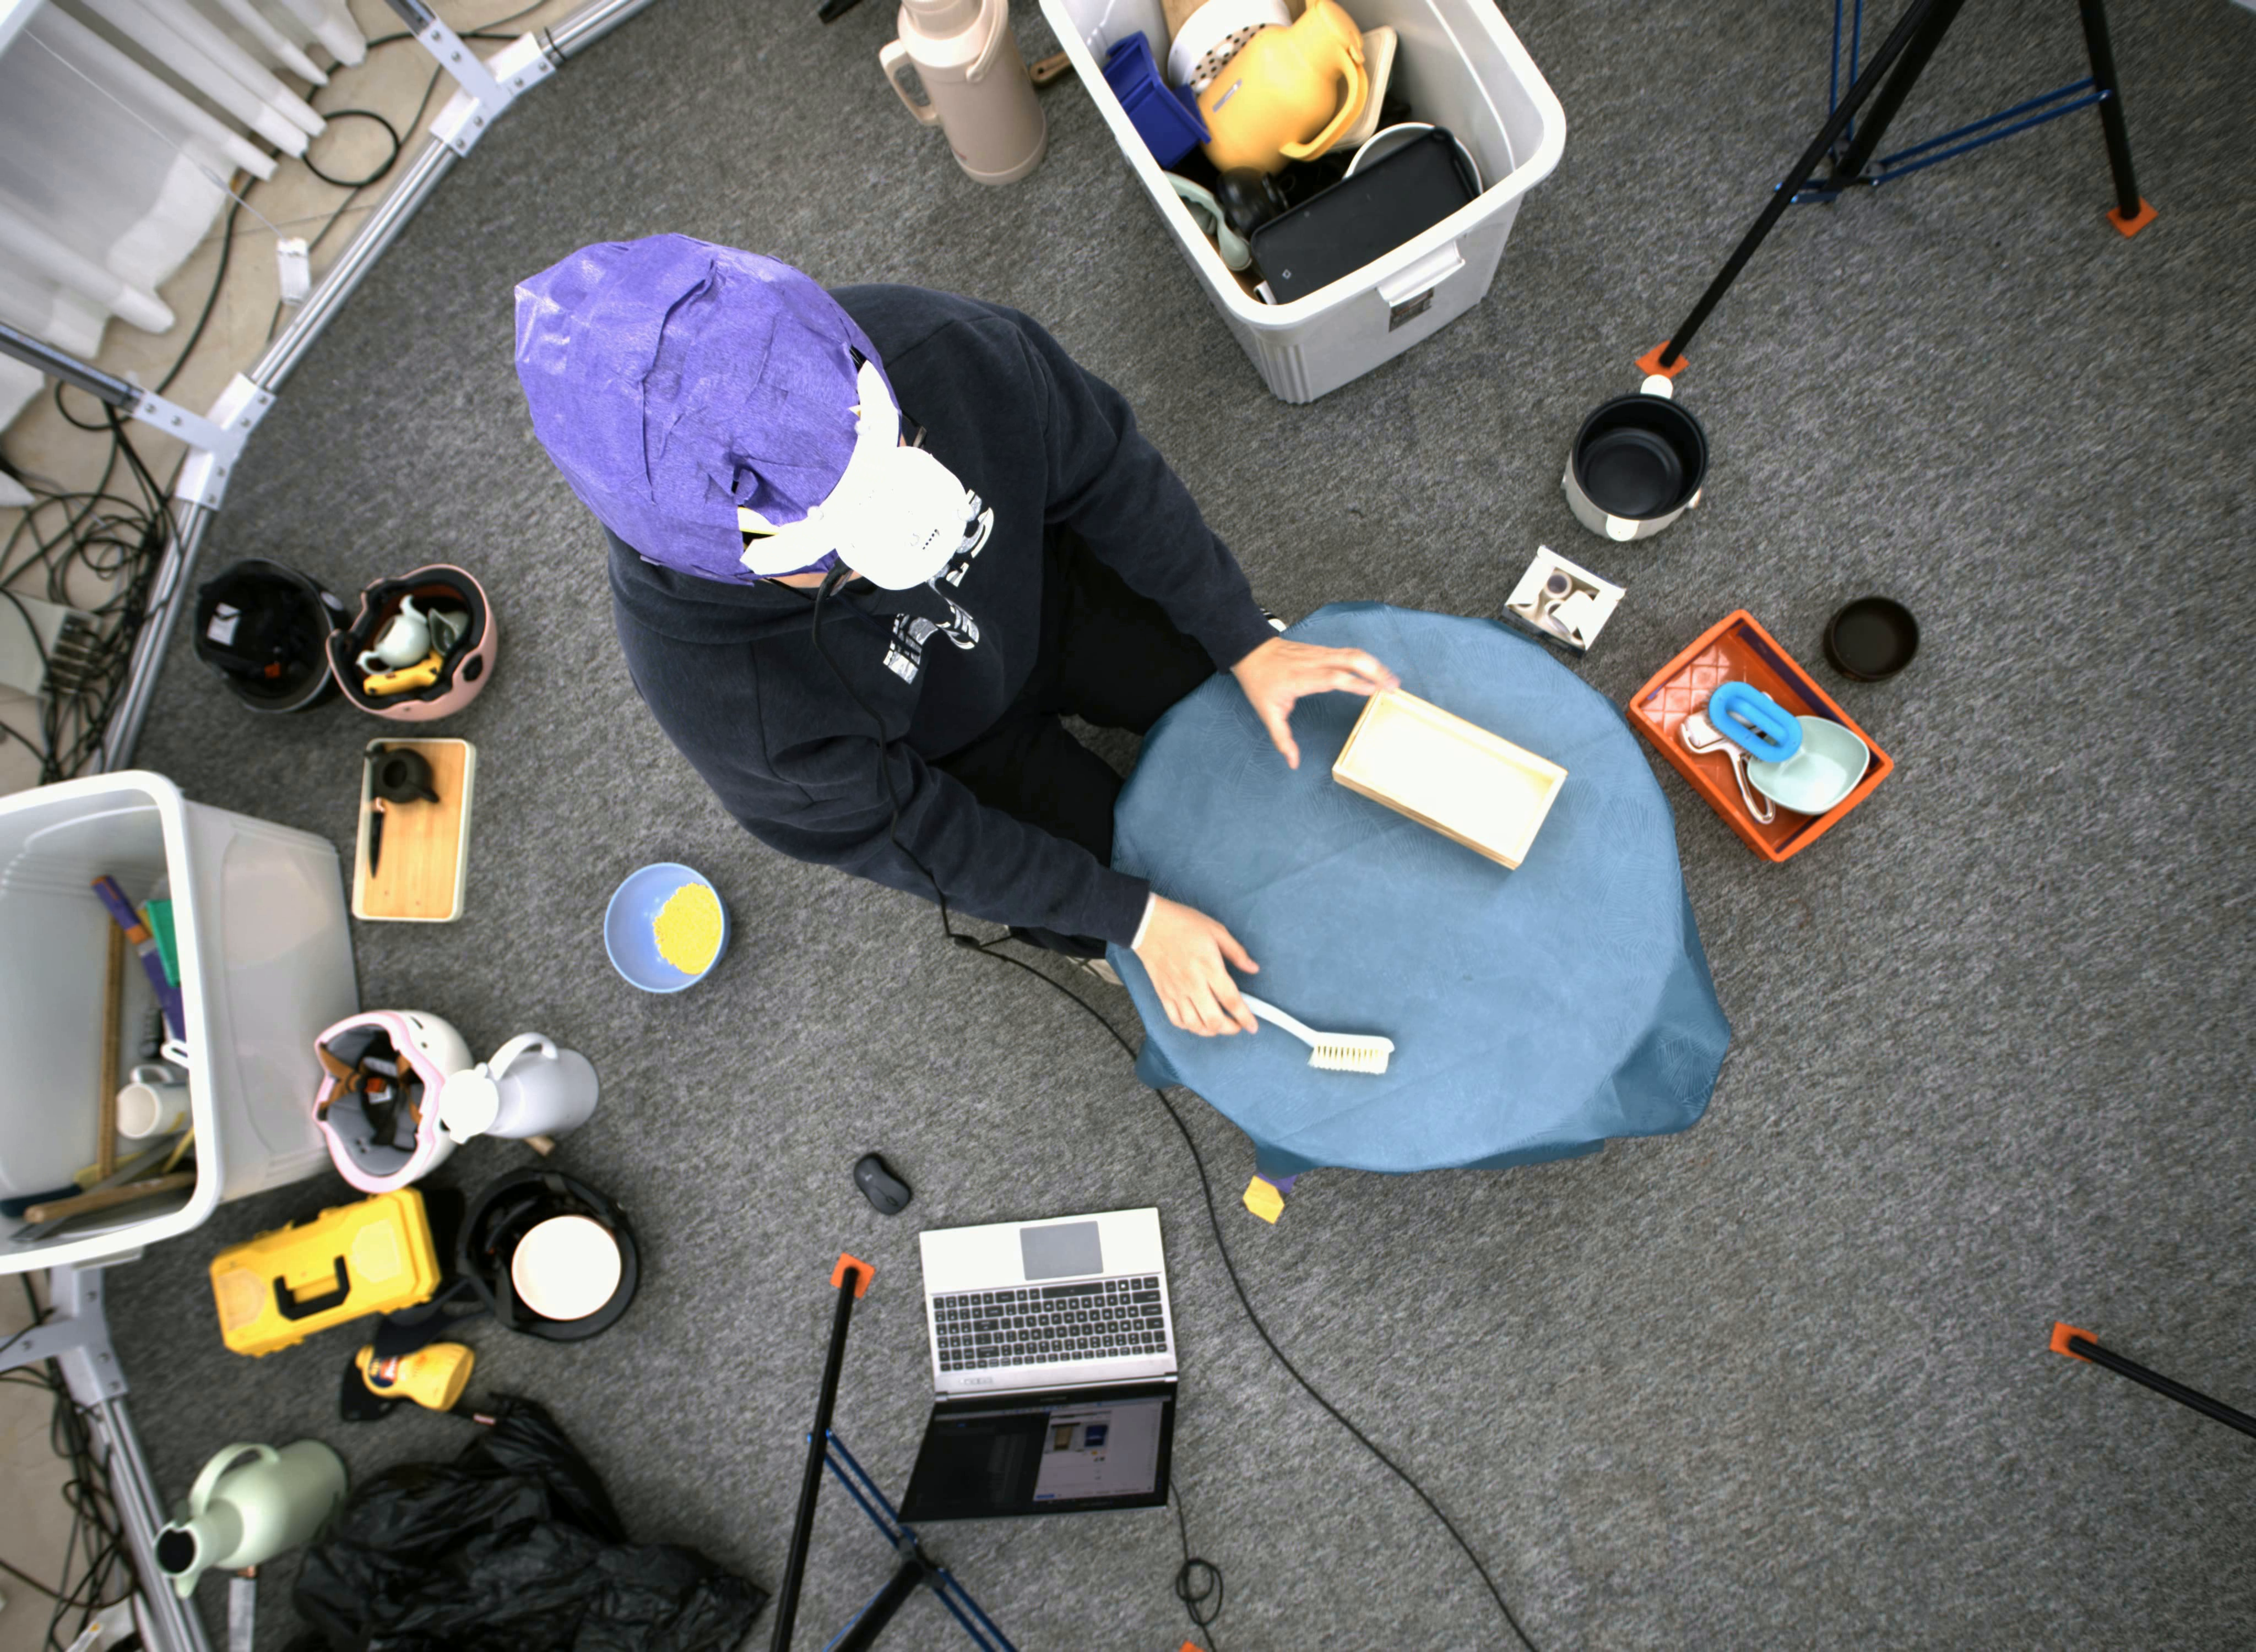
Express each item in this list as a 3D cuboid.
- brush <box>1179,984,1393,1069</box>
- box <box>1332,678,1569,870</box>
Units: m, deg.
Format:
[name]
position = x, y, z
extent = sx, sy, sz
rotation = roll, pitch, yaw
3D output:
[brush]
position = 0.161, 0.212, 1.454
extent = 0.229, 0.038, 0.049
rotation = 16, 81, 11
[box]
position = 0.329, -0.055, 1.416
extent = 0.211, 0.080, 0.107
rotation = 27, 91, 11
